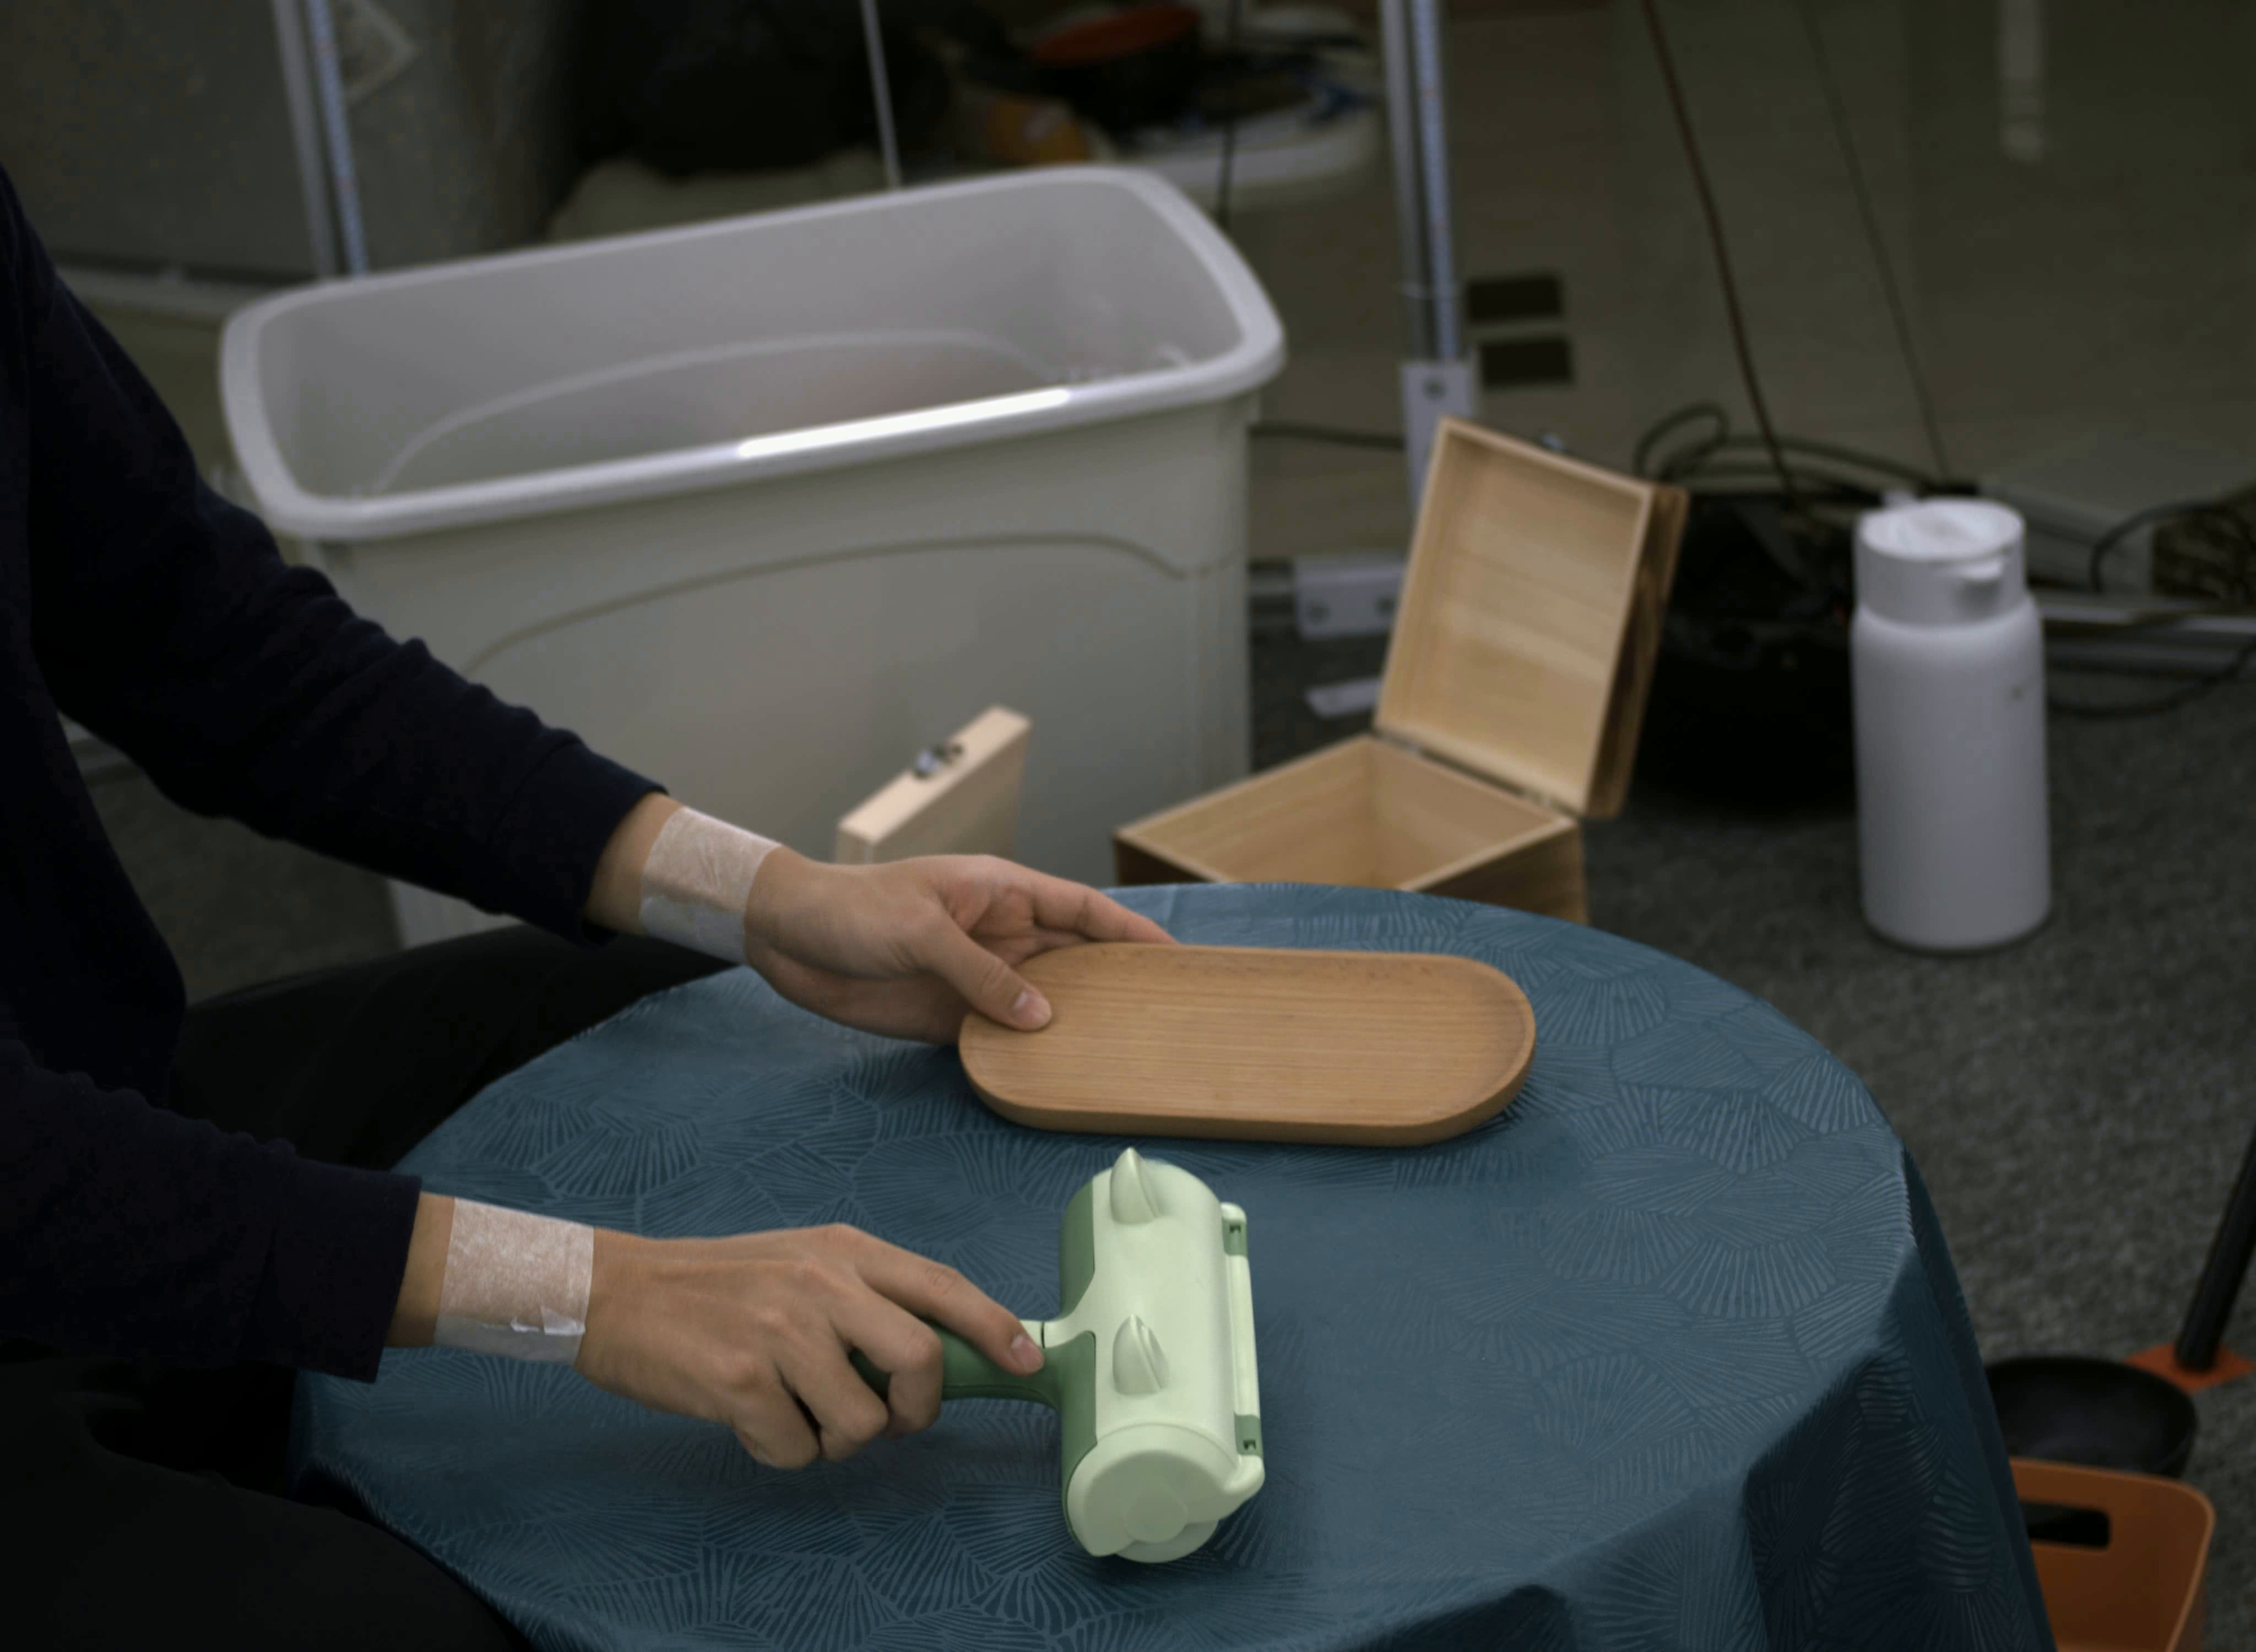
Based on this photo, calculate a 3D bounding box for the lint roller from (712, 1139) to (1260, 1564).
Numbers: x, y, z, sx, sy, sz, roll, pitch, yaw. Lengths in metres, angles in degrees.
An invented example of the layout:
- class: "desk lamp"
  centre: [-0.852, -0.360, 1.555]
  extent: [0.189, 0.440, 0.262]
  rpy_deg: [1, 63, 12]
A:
- class: "lint roller"
  centre: [-0.048, 0.166, 1.959]
  extent: [0.183, 0.083, 0.195]
  rpy_deg: [10, 27, -7]

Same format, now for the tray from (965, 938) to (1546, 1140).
- class: "tray"
  centre: [0.049, 0.083, 2.207]
  extent: [0.230, 0.021, 0.100]
  rpy_deg: [2, 43, 15]
